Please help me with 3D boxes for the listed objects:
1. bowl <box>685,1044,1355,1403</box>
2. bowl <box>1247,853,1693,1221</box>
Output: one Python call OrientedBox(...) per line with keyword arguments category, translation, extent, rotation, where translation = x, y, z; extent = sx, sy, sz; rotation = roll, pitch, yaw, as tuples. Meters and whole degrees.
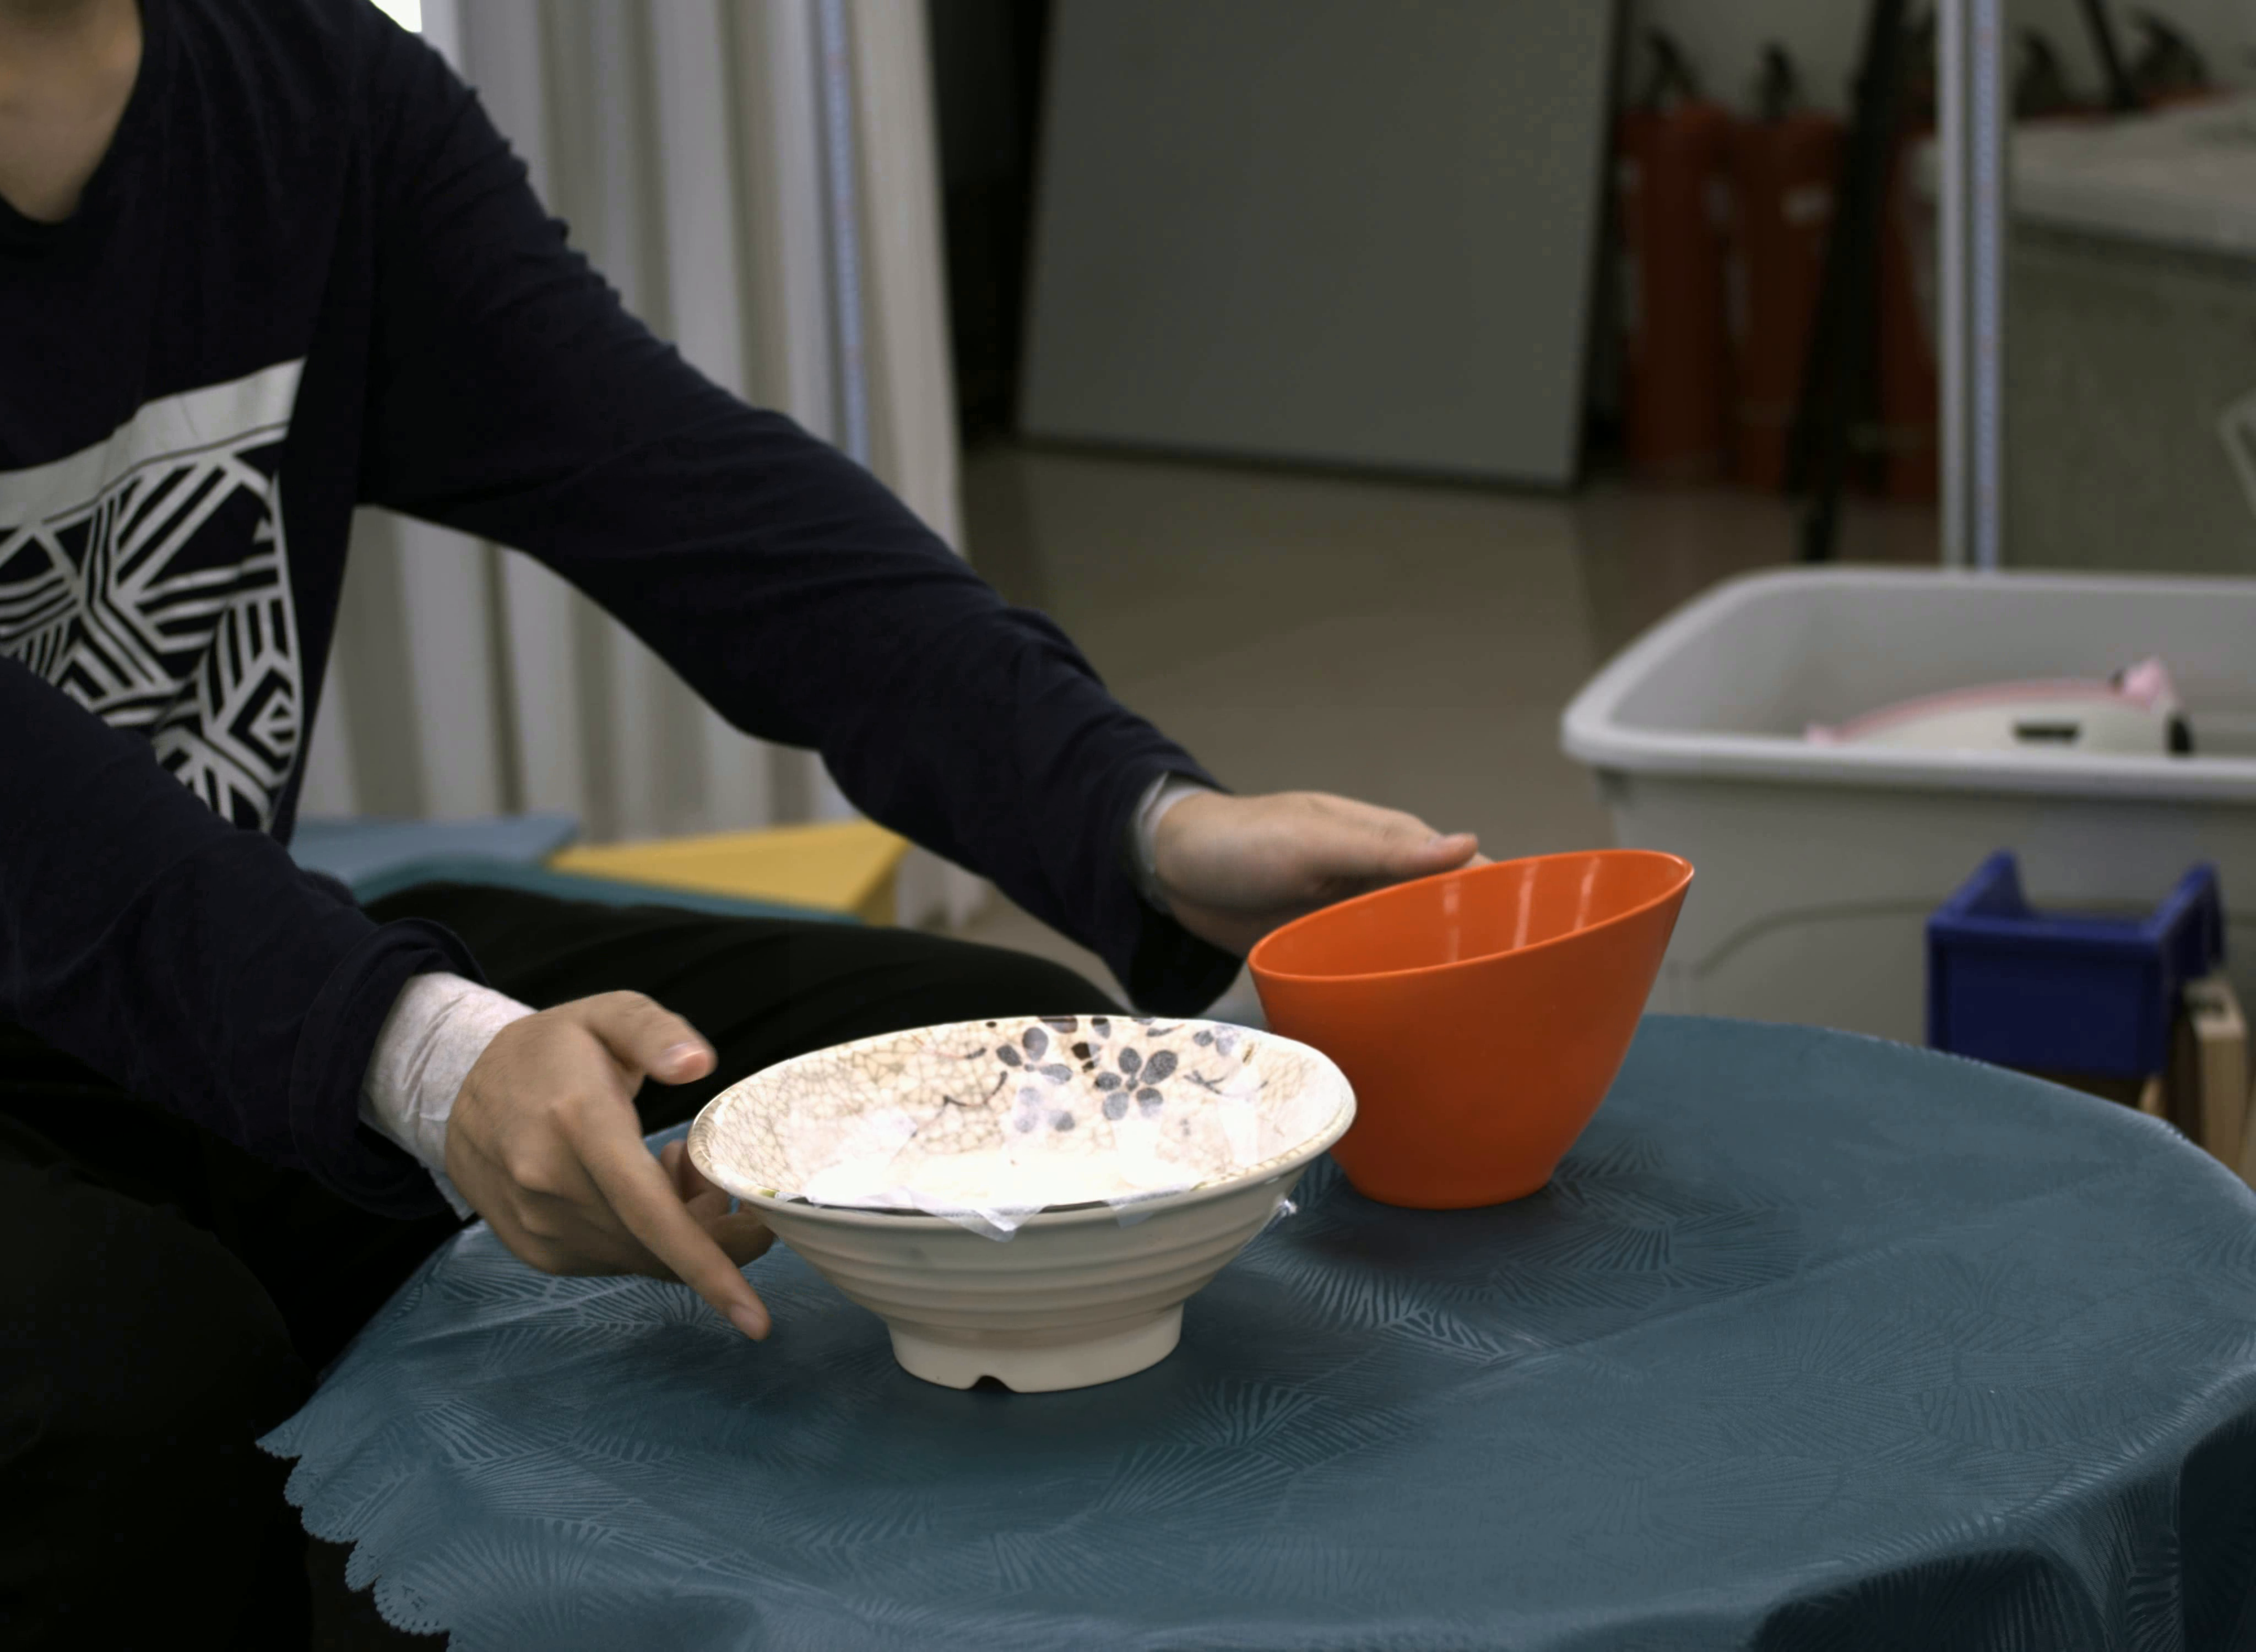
OrientedBox(category="bowl", translation=(-0.029, 0.124, 1.620), extent=(0.201, 0.079, 0.204), rotation=(-5, 9, 0))
OrientedBox(category="bowl", translation=(0.113, 0.069, 1.746), extent=(0.146, 0.106, 0.148), rotation=(-5, 12, 0))
